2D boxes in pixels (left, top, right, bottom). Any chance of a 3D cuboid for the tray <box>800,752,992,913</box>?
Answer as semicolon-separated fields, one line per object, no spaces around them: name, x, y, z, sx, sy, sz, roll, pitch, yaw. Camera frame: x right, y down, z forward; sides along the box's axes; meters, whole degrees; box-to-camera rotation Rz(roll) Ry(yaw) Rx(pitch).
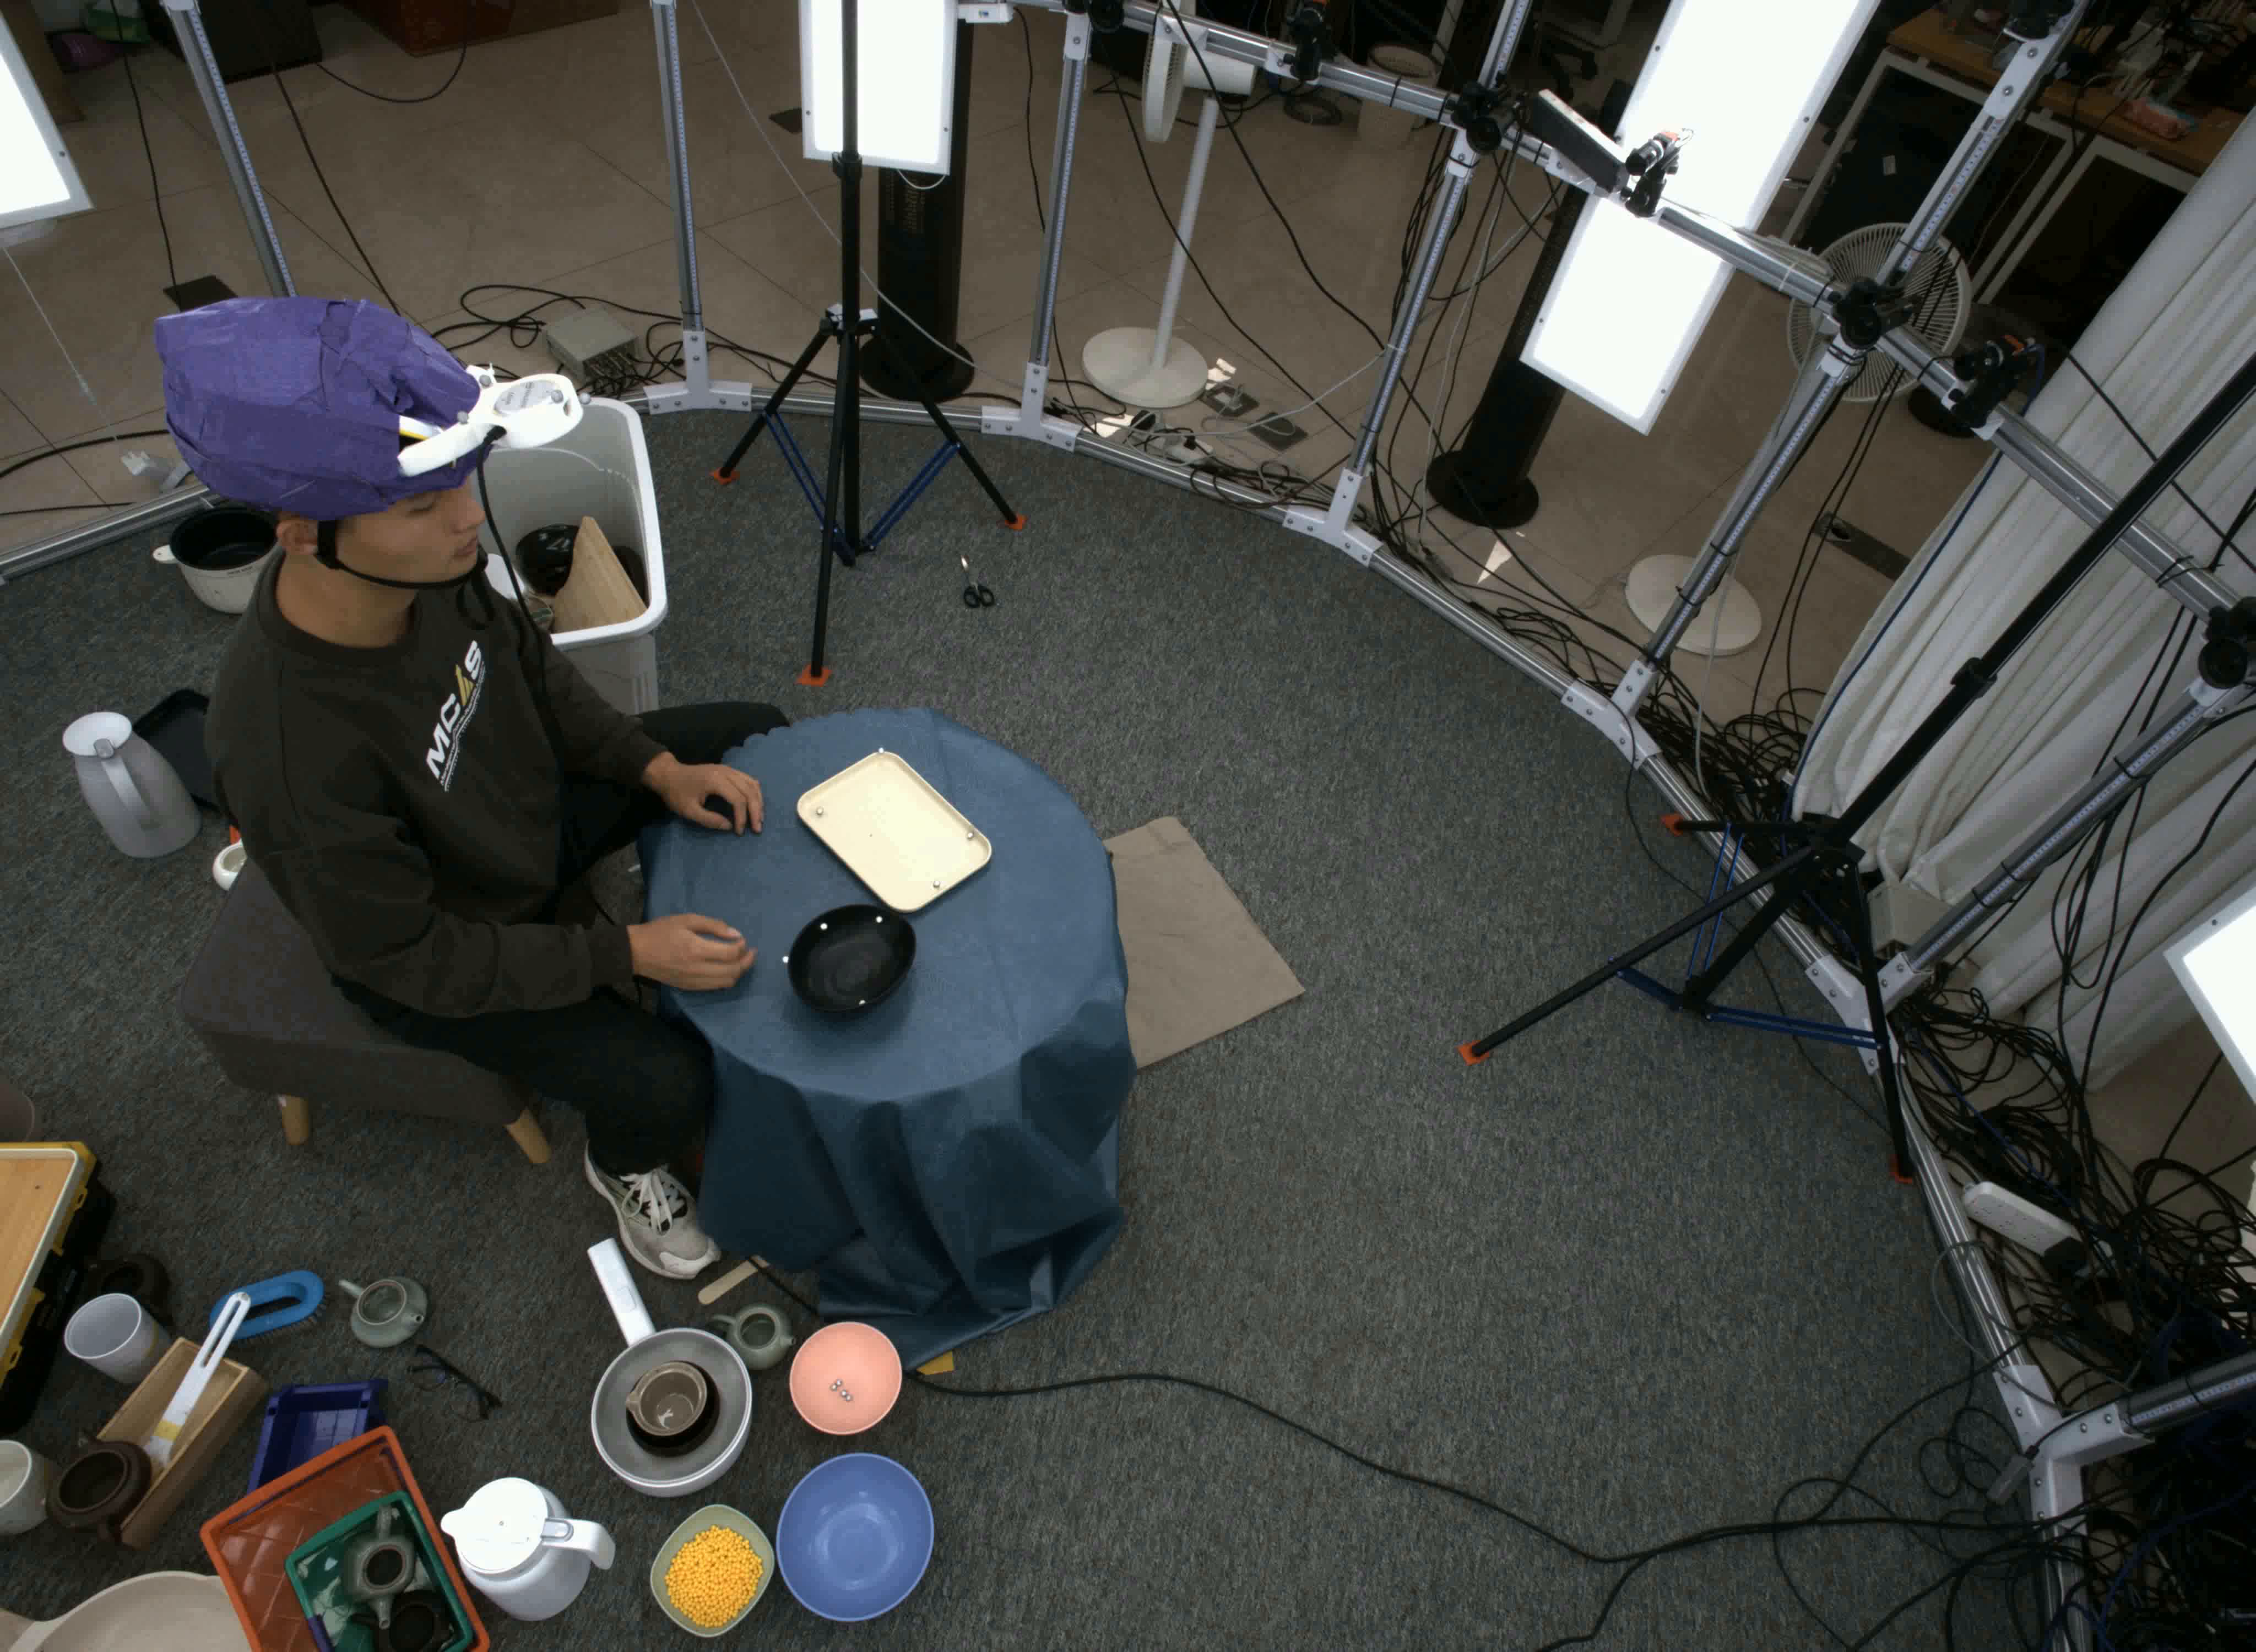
tray;-0.311;0.006;1.746;0.234;0.018;0.171;42;57;18

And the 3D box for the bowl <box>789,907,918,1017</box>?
bowl;-0.334;0.172;1.589;0.135;0.068;0.170;36;53;13
